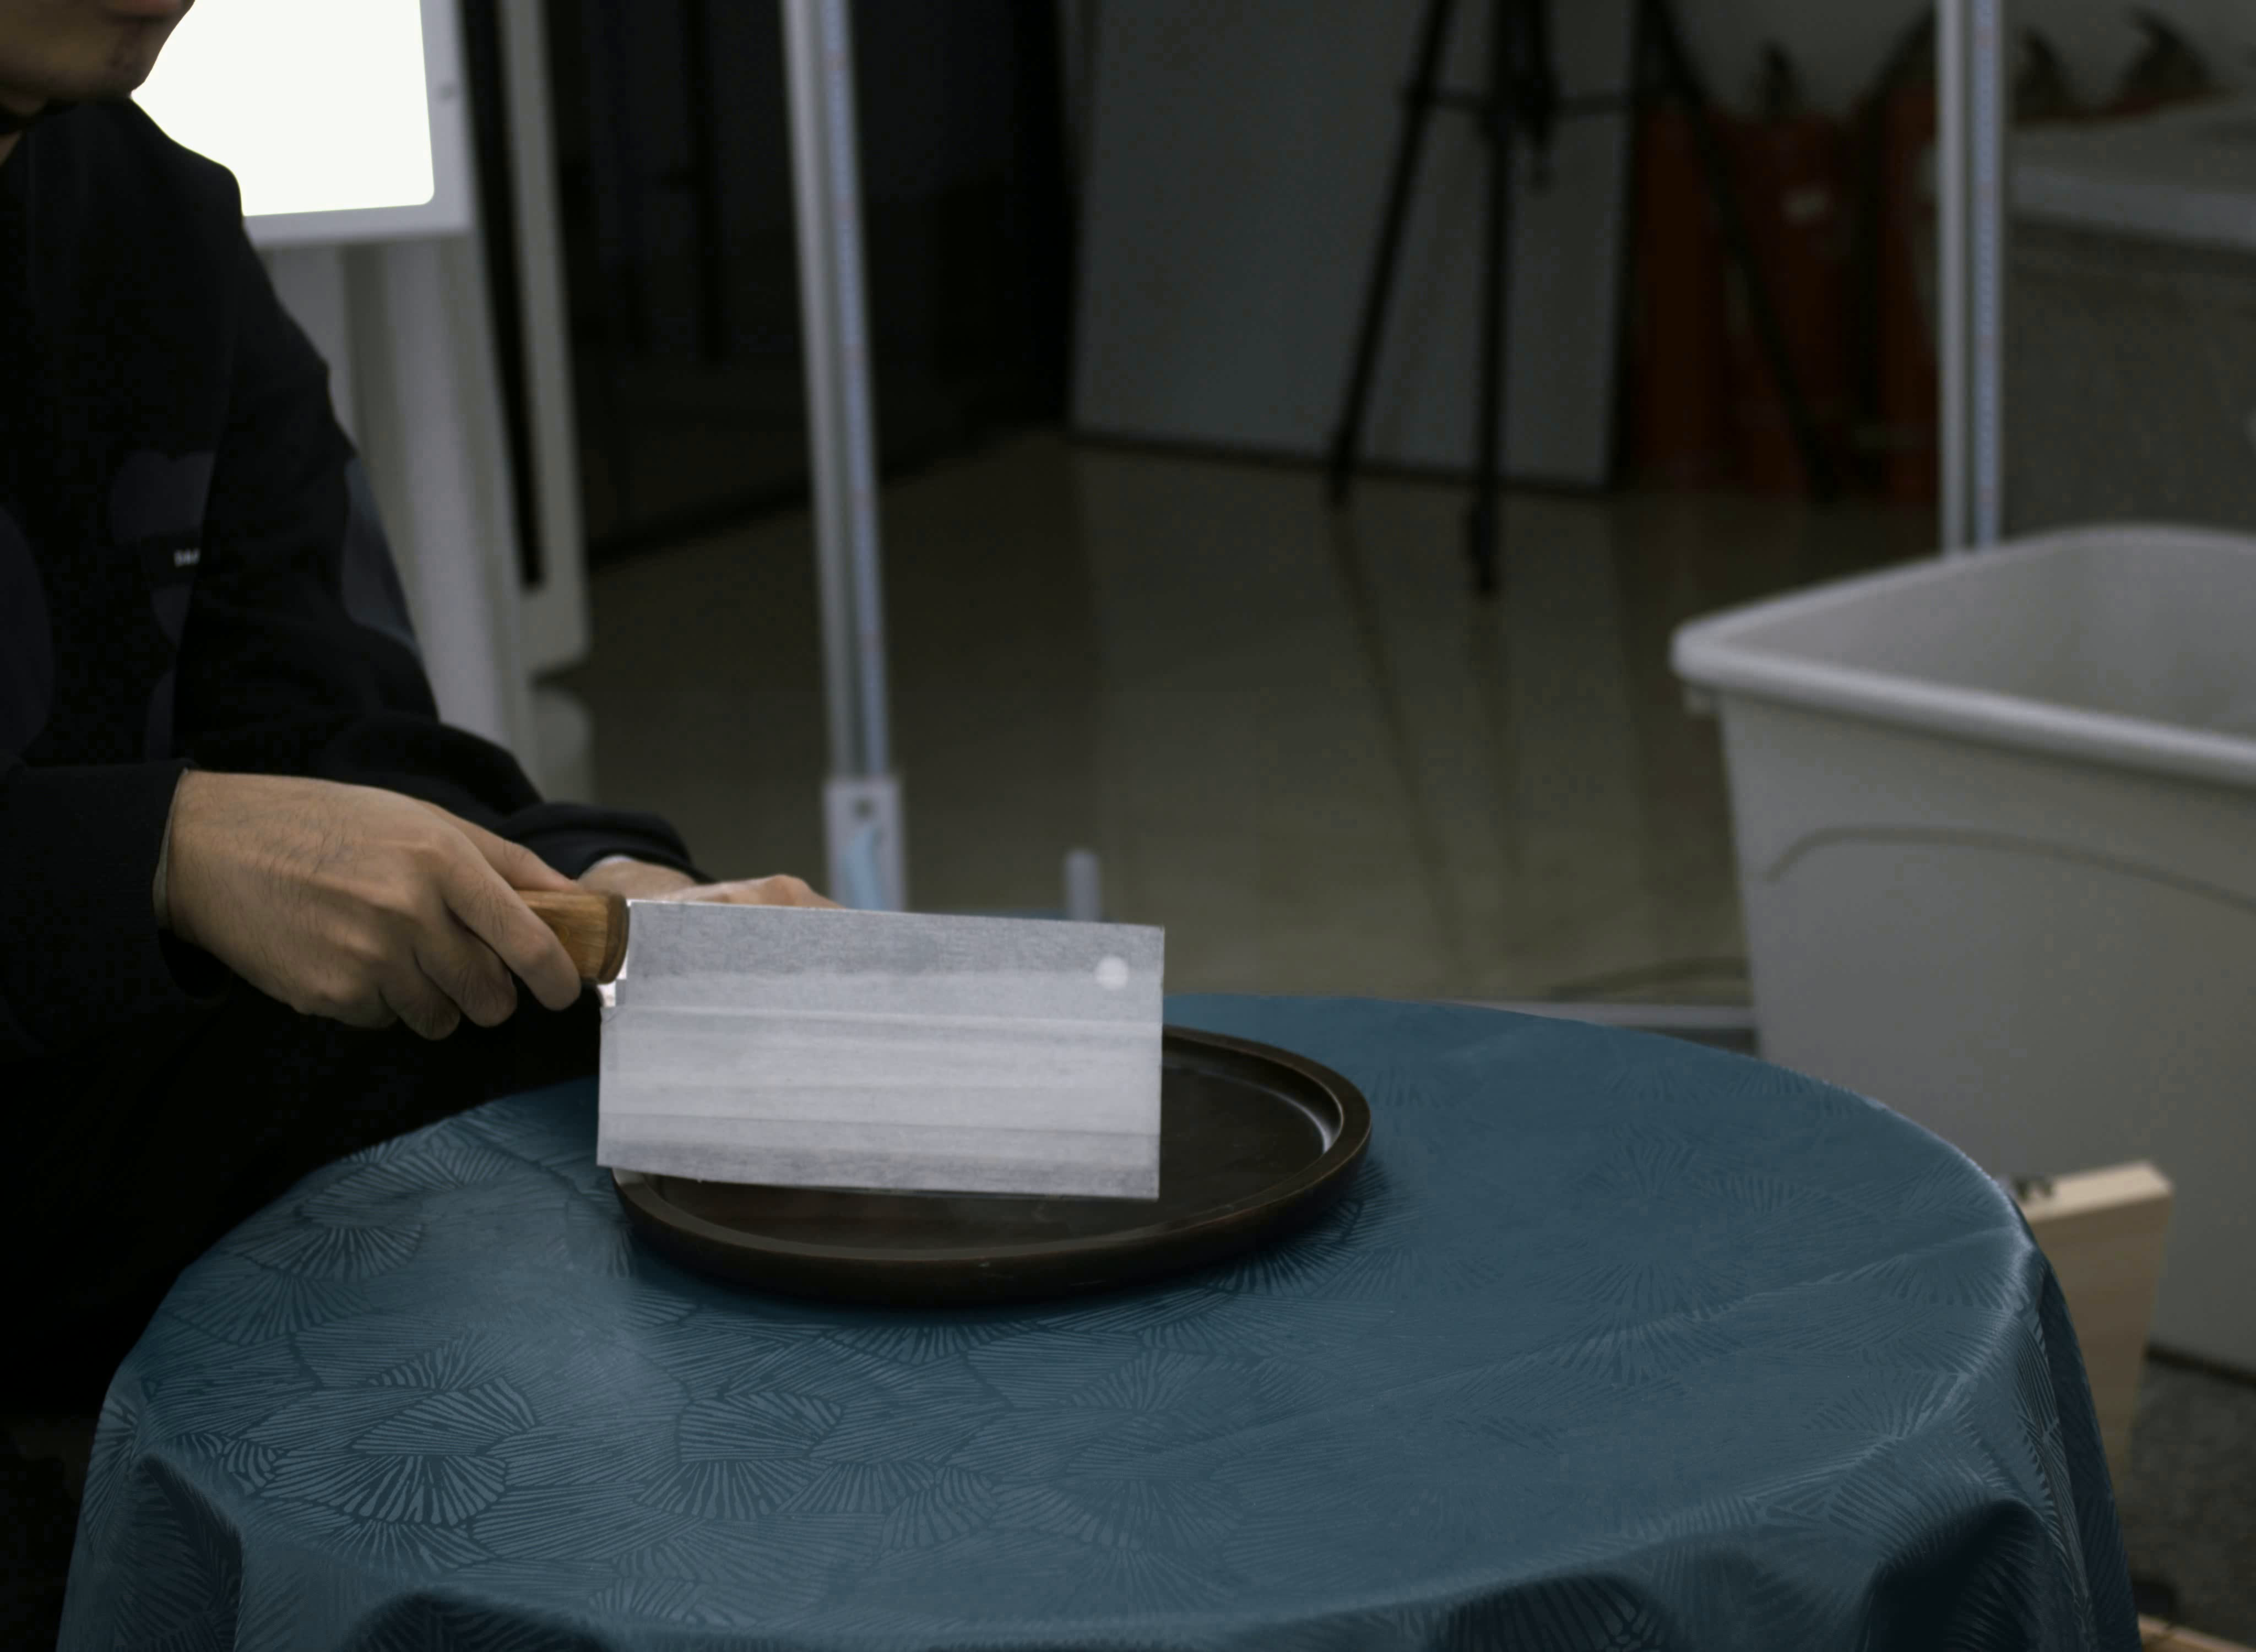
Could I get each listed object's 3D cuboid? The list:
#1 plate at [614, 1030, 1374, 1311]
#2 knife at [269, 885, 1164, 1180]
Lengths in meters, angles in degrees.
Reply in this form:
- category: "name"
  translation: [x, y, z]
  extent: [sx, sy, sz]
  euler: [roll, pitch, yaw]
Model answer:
- category: "plate"
  translation: [-0.043, 0.111, 1.774]
  extent: [0.251, 0.029, 0.255]
  euler: [-3, 13, 0]
- category: "knife"
  translation: [-0.134, 0.067, 1.738]
  extent: [0.304, 0.094, 0.021]
  euler: [2, 6, 16]
